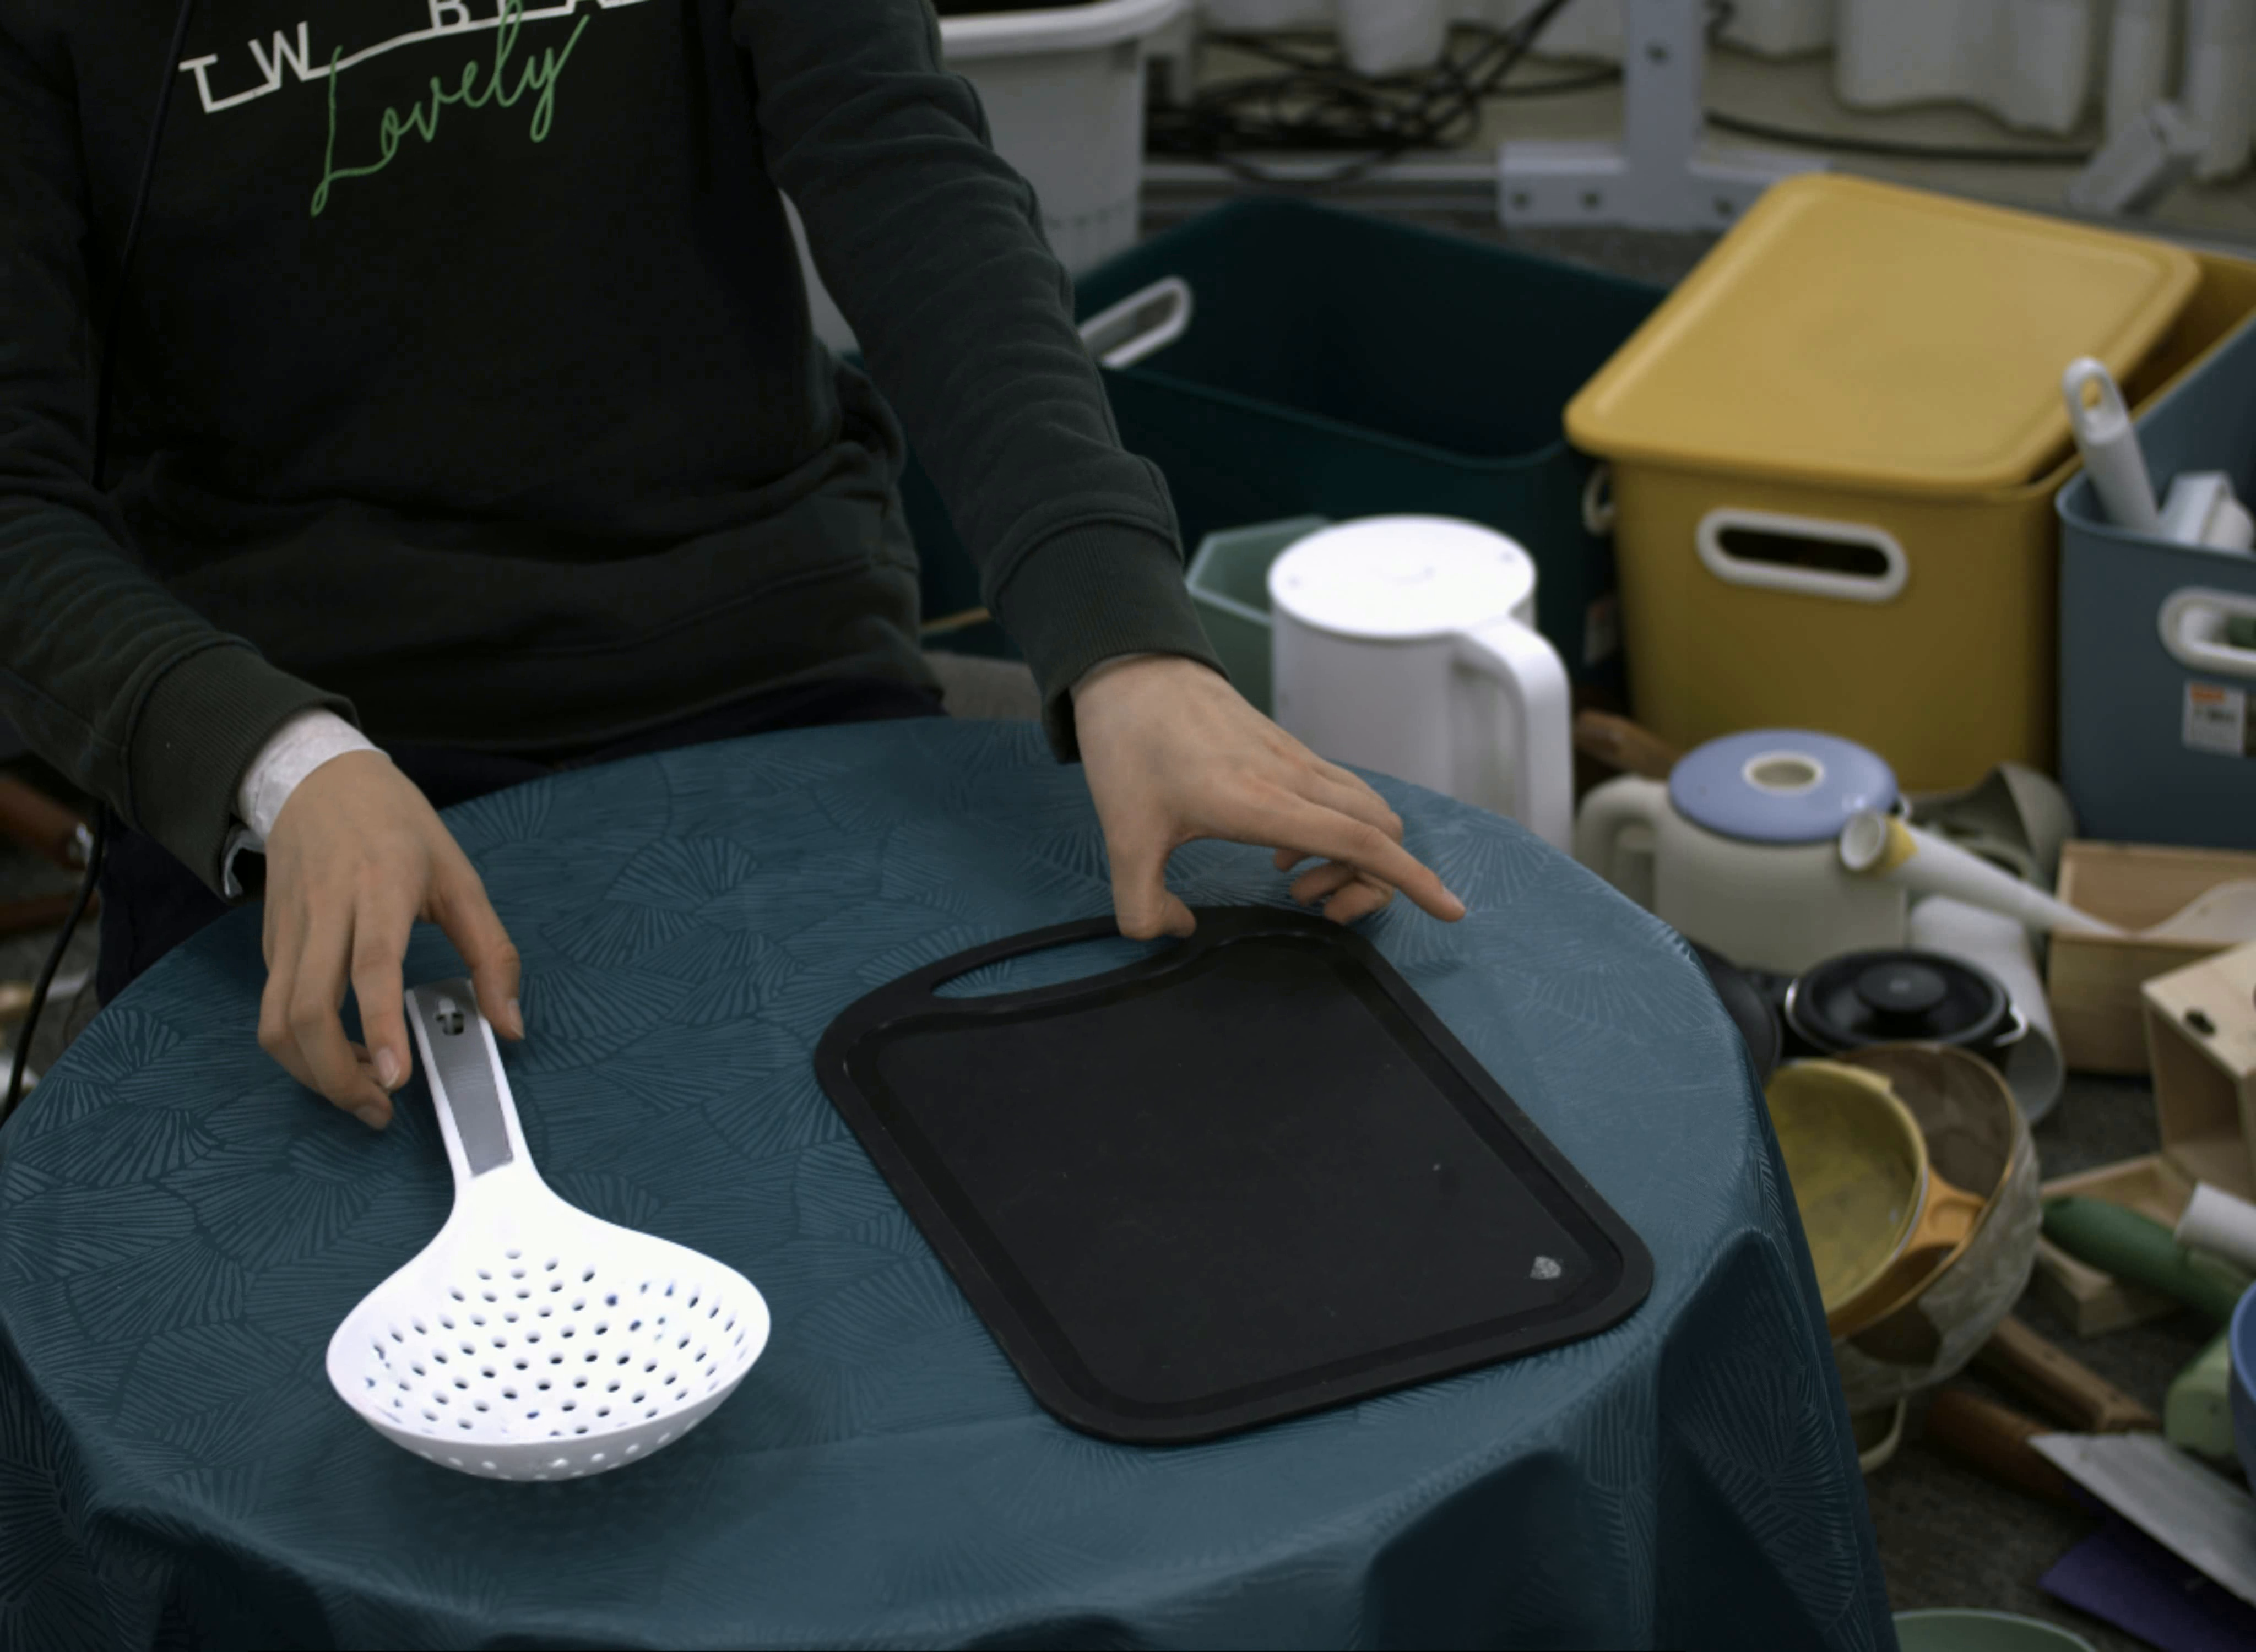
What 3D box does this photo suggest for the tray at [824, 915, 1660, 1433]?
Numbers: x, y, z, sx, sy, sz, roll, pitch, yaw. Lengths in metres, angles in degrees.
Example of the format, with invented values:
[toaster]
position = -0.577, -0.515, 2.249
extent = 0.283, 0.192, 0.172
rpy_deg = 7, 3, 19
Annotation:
[tray]
position = 0.028, 0.106, 1.880
extent = 0.211, 0.009, 0.328
rpy_deg = -12, 28, -18

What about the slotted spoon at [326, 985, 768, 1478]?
[slotted spoon]
position = -0.202, 0.125, 1.825
extent = 0.136, 0.045, 0.353
rpy_deg = -6, 26, -12
